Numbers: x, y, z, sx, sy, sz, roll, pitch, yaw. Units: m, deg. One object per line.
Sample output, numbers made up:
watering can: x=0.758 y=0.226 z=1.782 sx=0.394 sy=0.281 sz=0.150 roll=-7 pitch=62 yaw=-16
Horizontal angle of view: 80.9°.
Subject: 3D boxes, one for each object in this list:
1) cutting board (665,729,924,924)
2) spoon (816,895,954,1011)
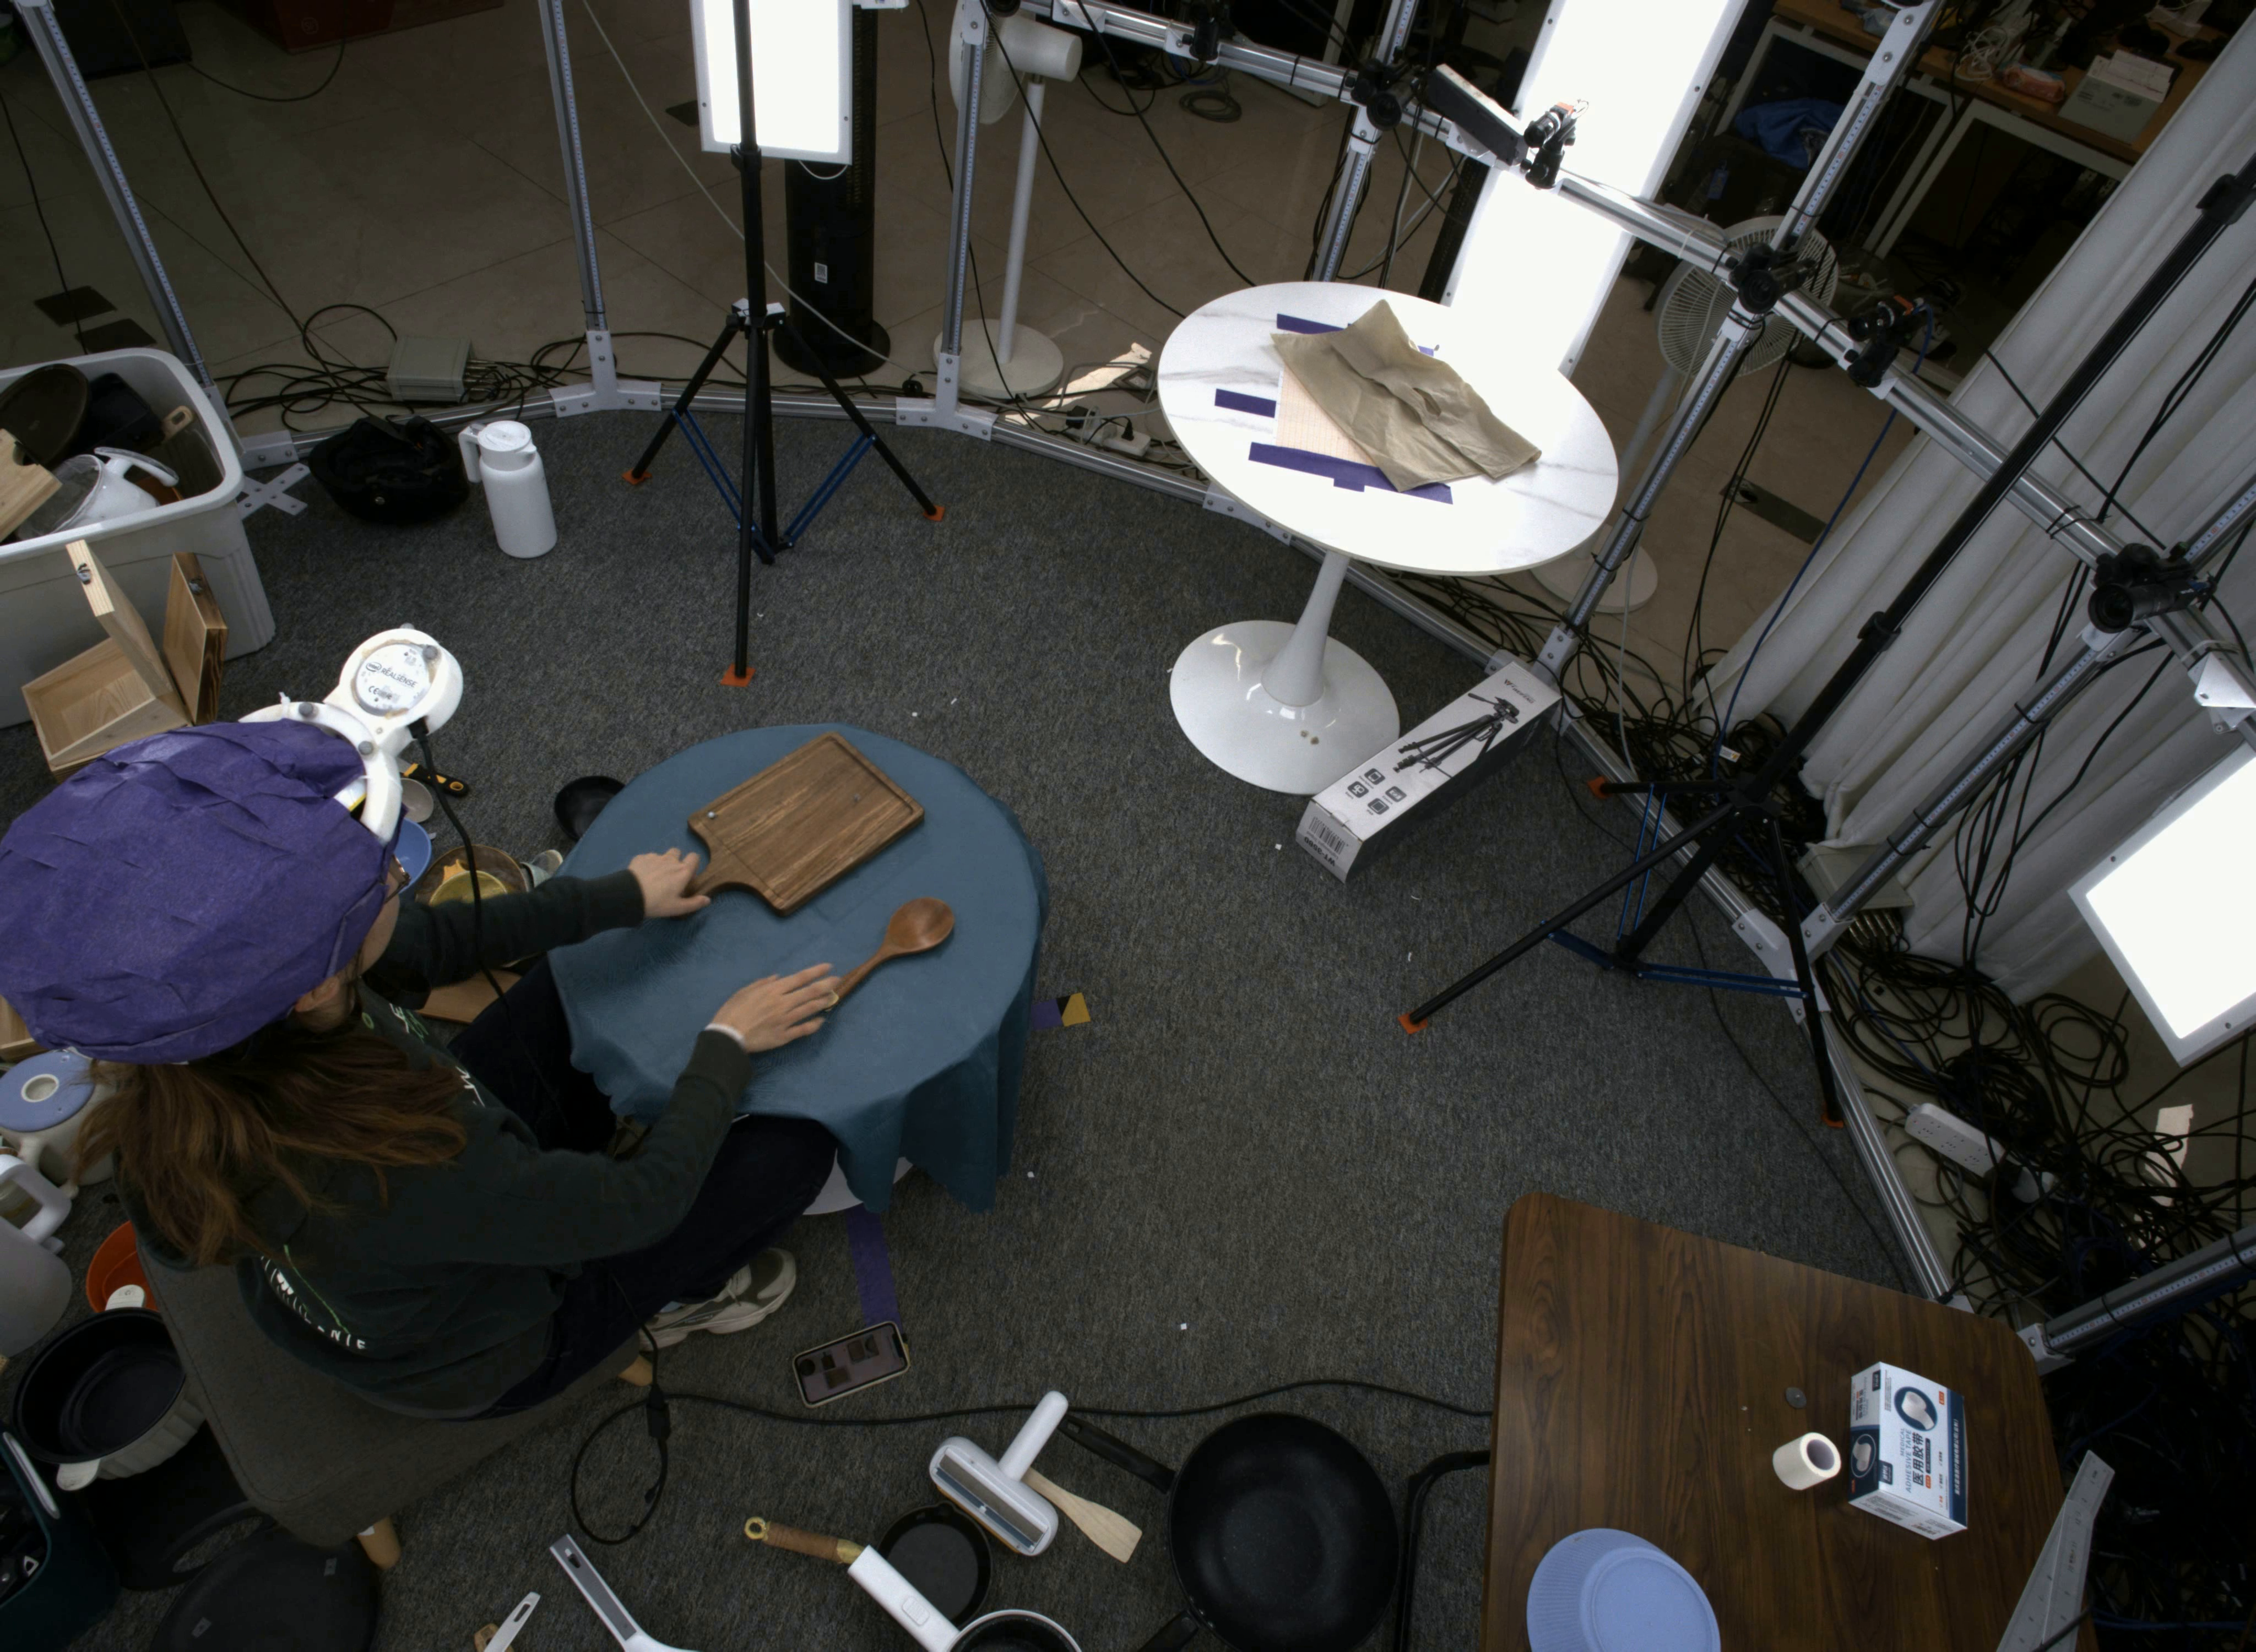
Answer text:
cutting board: x=-0.458 y=0.016 z=1.697 sx=0.197 sy=0.023 sz=0.352 roll=41 pitch=55 yaw=15
spoon: x=-0.306 y=0.158 z=1.630 sx=0.074 sy=0.017 sz=0.216 roll=40 pitch=54 yaw=14
